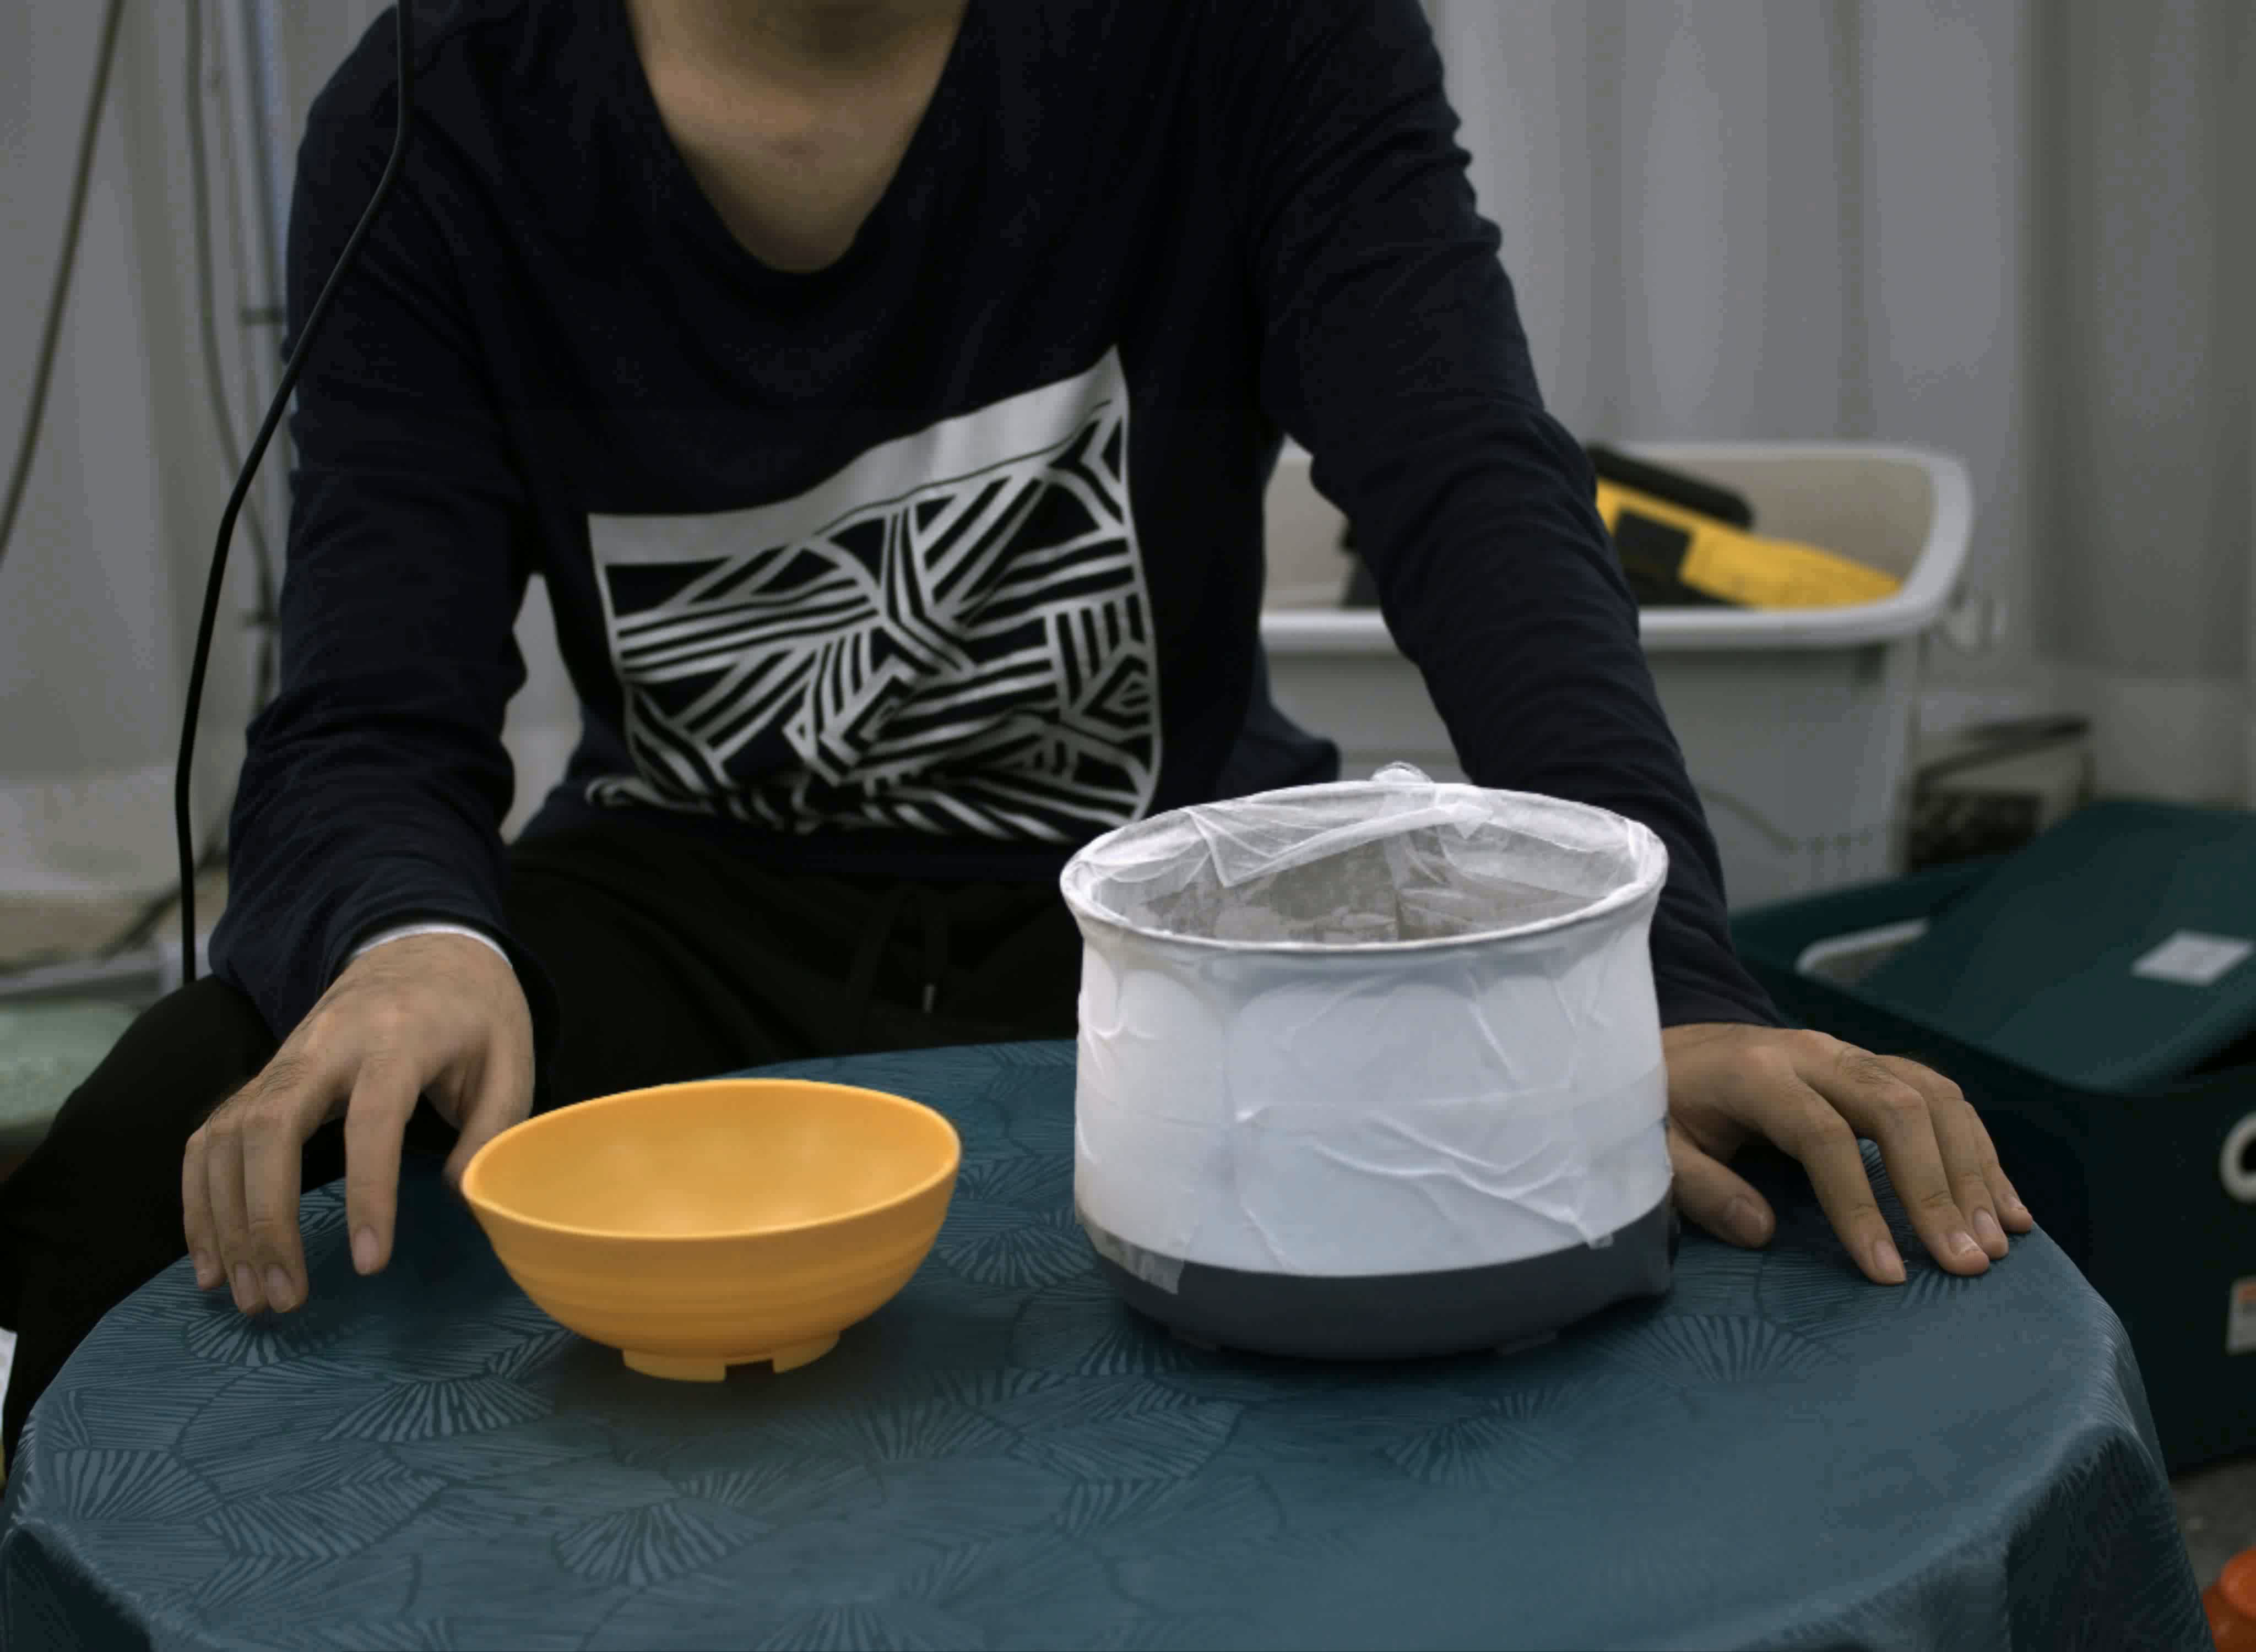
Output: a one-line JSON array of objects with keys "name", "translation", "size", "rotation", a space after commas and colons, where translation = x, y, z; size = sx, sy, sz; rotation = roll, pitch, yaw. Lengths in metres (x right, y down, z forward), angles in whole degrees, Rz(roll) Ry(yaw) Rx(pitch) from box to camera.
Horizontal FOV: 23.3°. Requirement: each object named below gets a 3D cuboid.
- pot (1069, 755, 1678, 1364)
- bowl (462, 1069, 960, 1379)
[{"name": "pot", "translation": [0.074, 0.064, 1.628], "size": [0.178, 0.136, 0.235], "rotation": [2, 16, 7]}, {"name": "bowl", "translation": [-0.120, 0.121, 1.594], "size": [0.145, 0.060, 0.146], "rotation": [-1, 16, 0]}]
